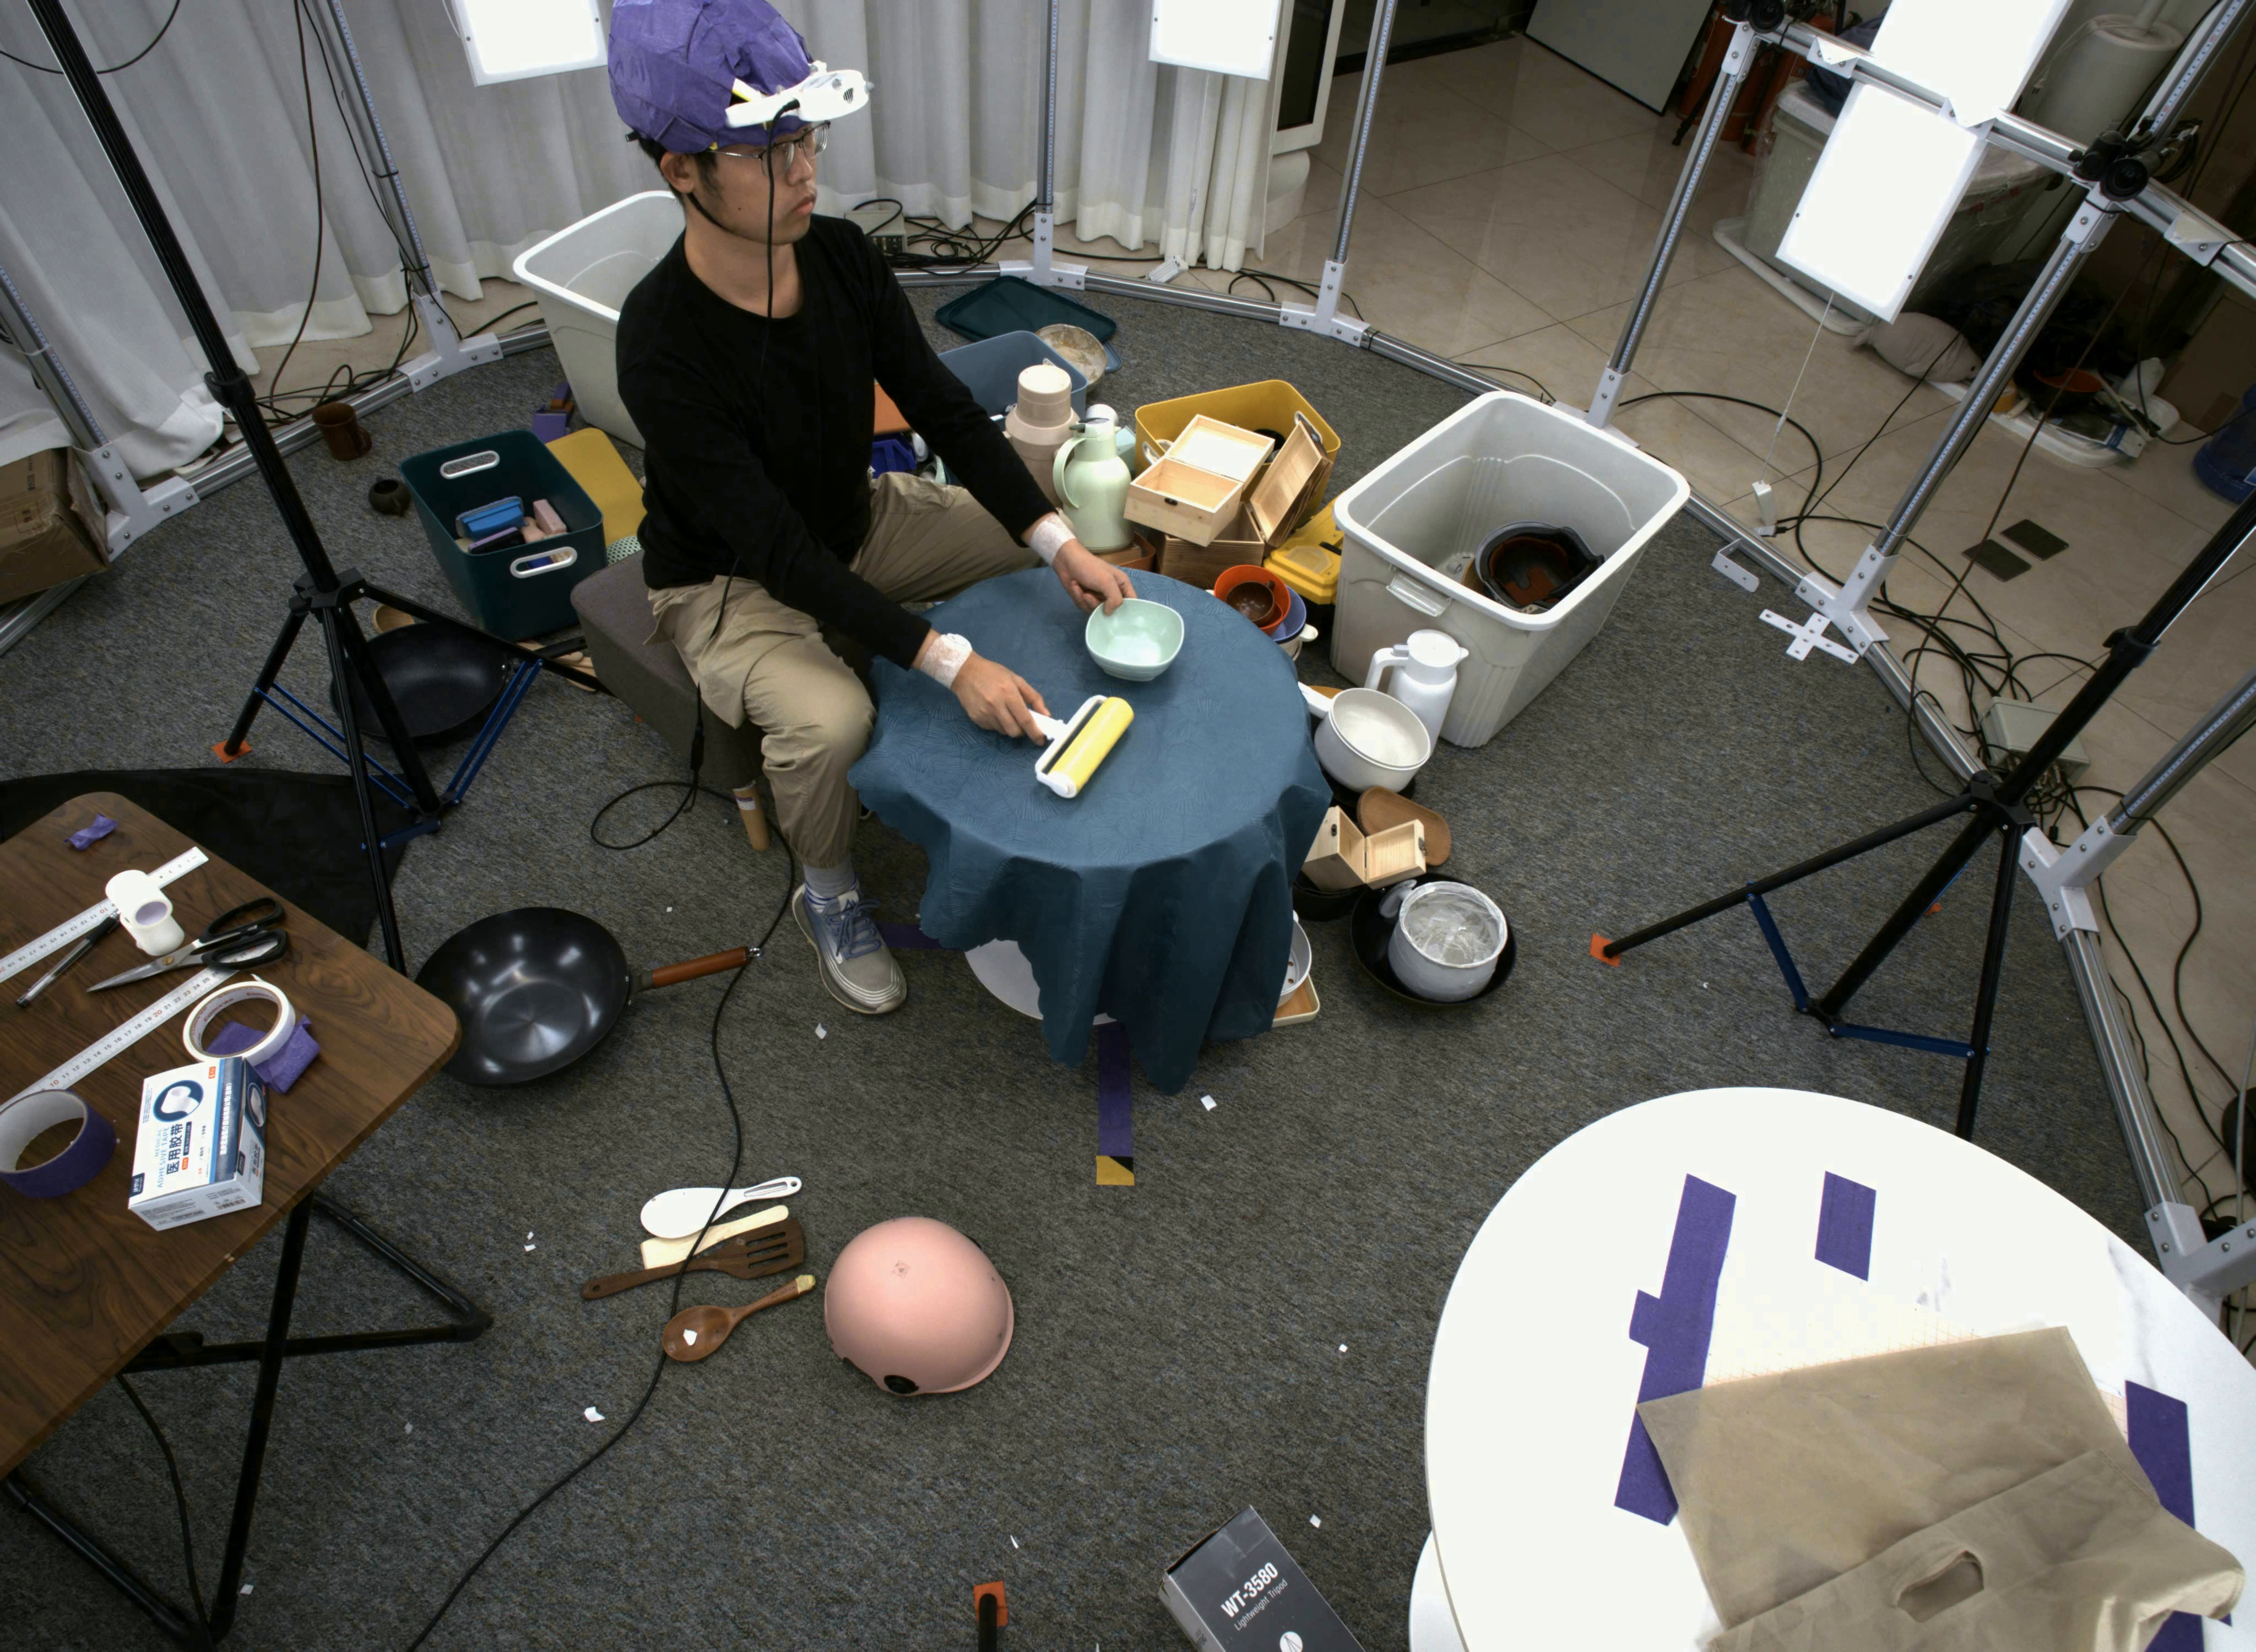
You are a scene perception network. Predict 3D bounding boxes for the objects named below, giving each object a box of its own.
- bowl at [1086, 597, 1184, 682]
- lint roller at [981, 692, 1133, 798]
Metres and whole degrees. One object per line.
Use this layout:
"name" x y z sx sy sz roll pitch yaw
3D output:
"bowl" 0.008 -0.262 1.860 0.151 0.057 0.155 3 50 -4
"lint roller" -0.112 -0.141 1.737 0.192 0.050 0.177 30 51 6
